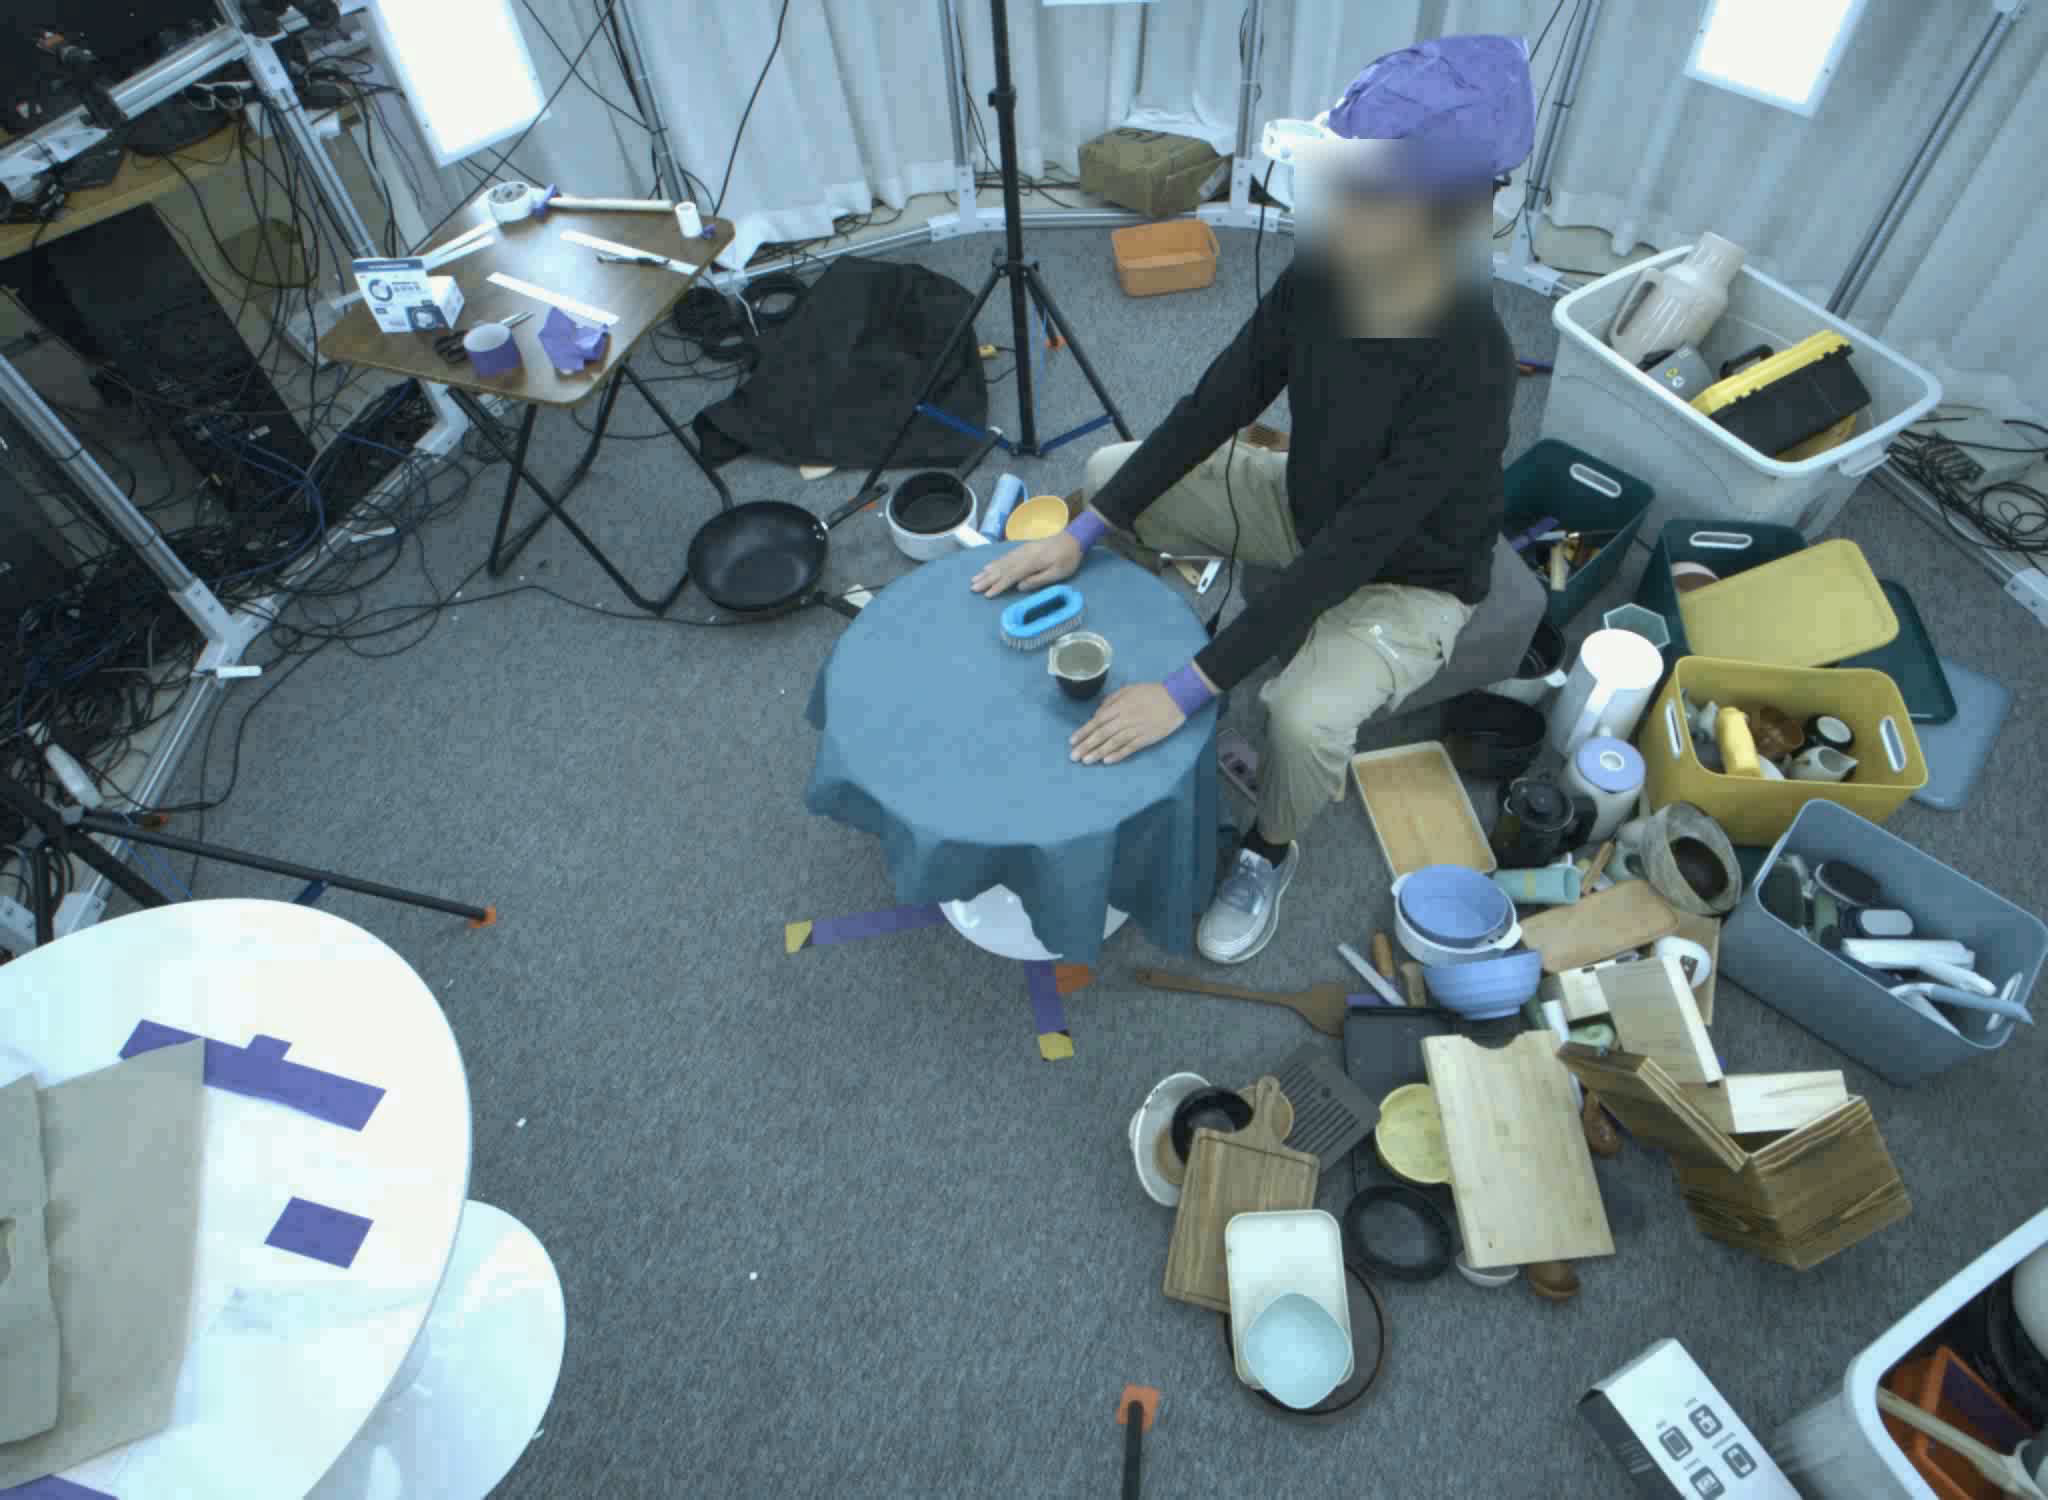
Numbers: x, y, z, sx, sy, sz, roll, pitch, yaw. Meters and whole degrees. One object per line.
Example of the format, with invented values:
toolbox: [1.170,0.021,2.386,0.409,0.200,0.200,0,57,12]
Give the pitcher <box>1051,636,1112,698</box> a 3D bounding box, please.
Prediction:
pitcher: [0.085,-0.117,1.823,0.096,0.072,0.082,-24,58,-12]

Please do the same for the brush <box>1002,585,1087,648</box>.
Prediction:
brush: [0.029,-0.218,1.903,0.143,0.064,0.082,-26,53,-16]
